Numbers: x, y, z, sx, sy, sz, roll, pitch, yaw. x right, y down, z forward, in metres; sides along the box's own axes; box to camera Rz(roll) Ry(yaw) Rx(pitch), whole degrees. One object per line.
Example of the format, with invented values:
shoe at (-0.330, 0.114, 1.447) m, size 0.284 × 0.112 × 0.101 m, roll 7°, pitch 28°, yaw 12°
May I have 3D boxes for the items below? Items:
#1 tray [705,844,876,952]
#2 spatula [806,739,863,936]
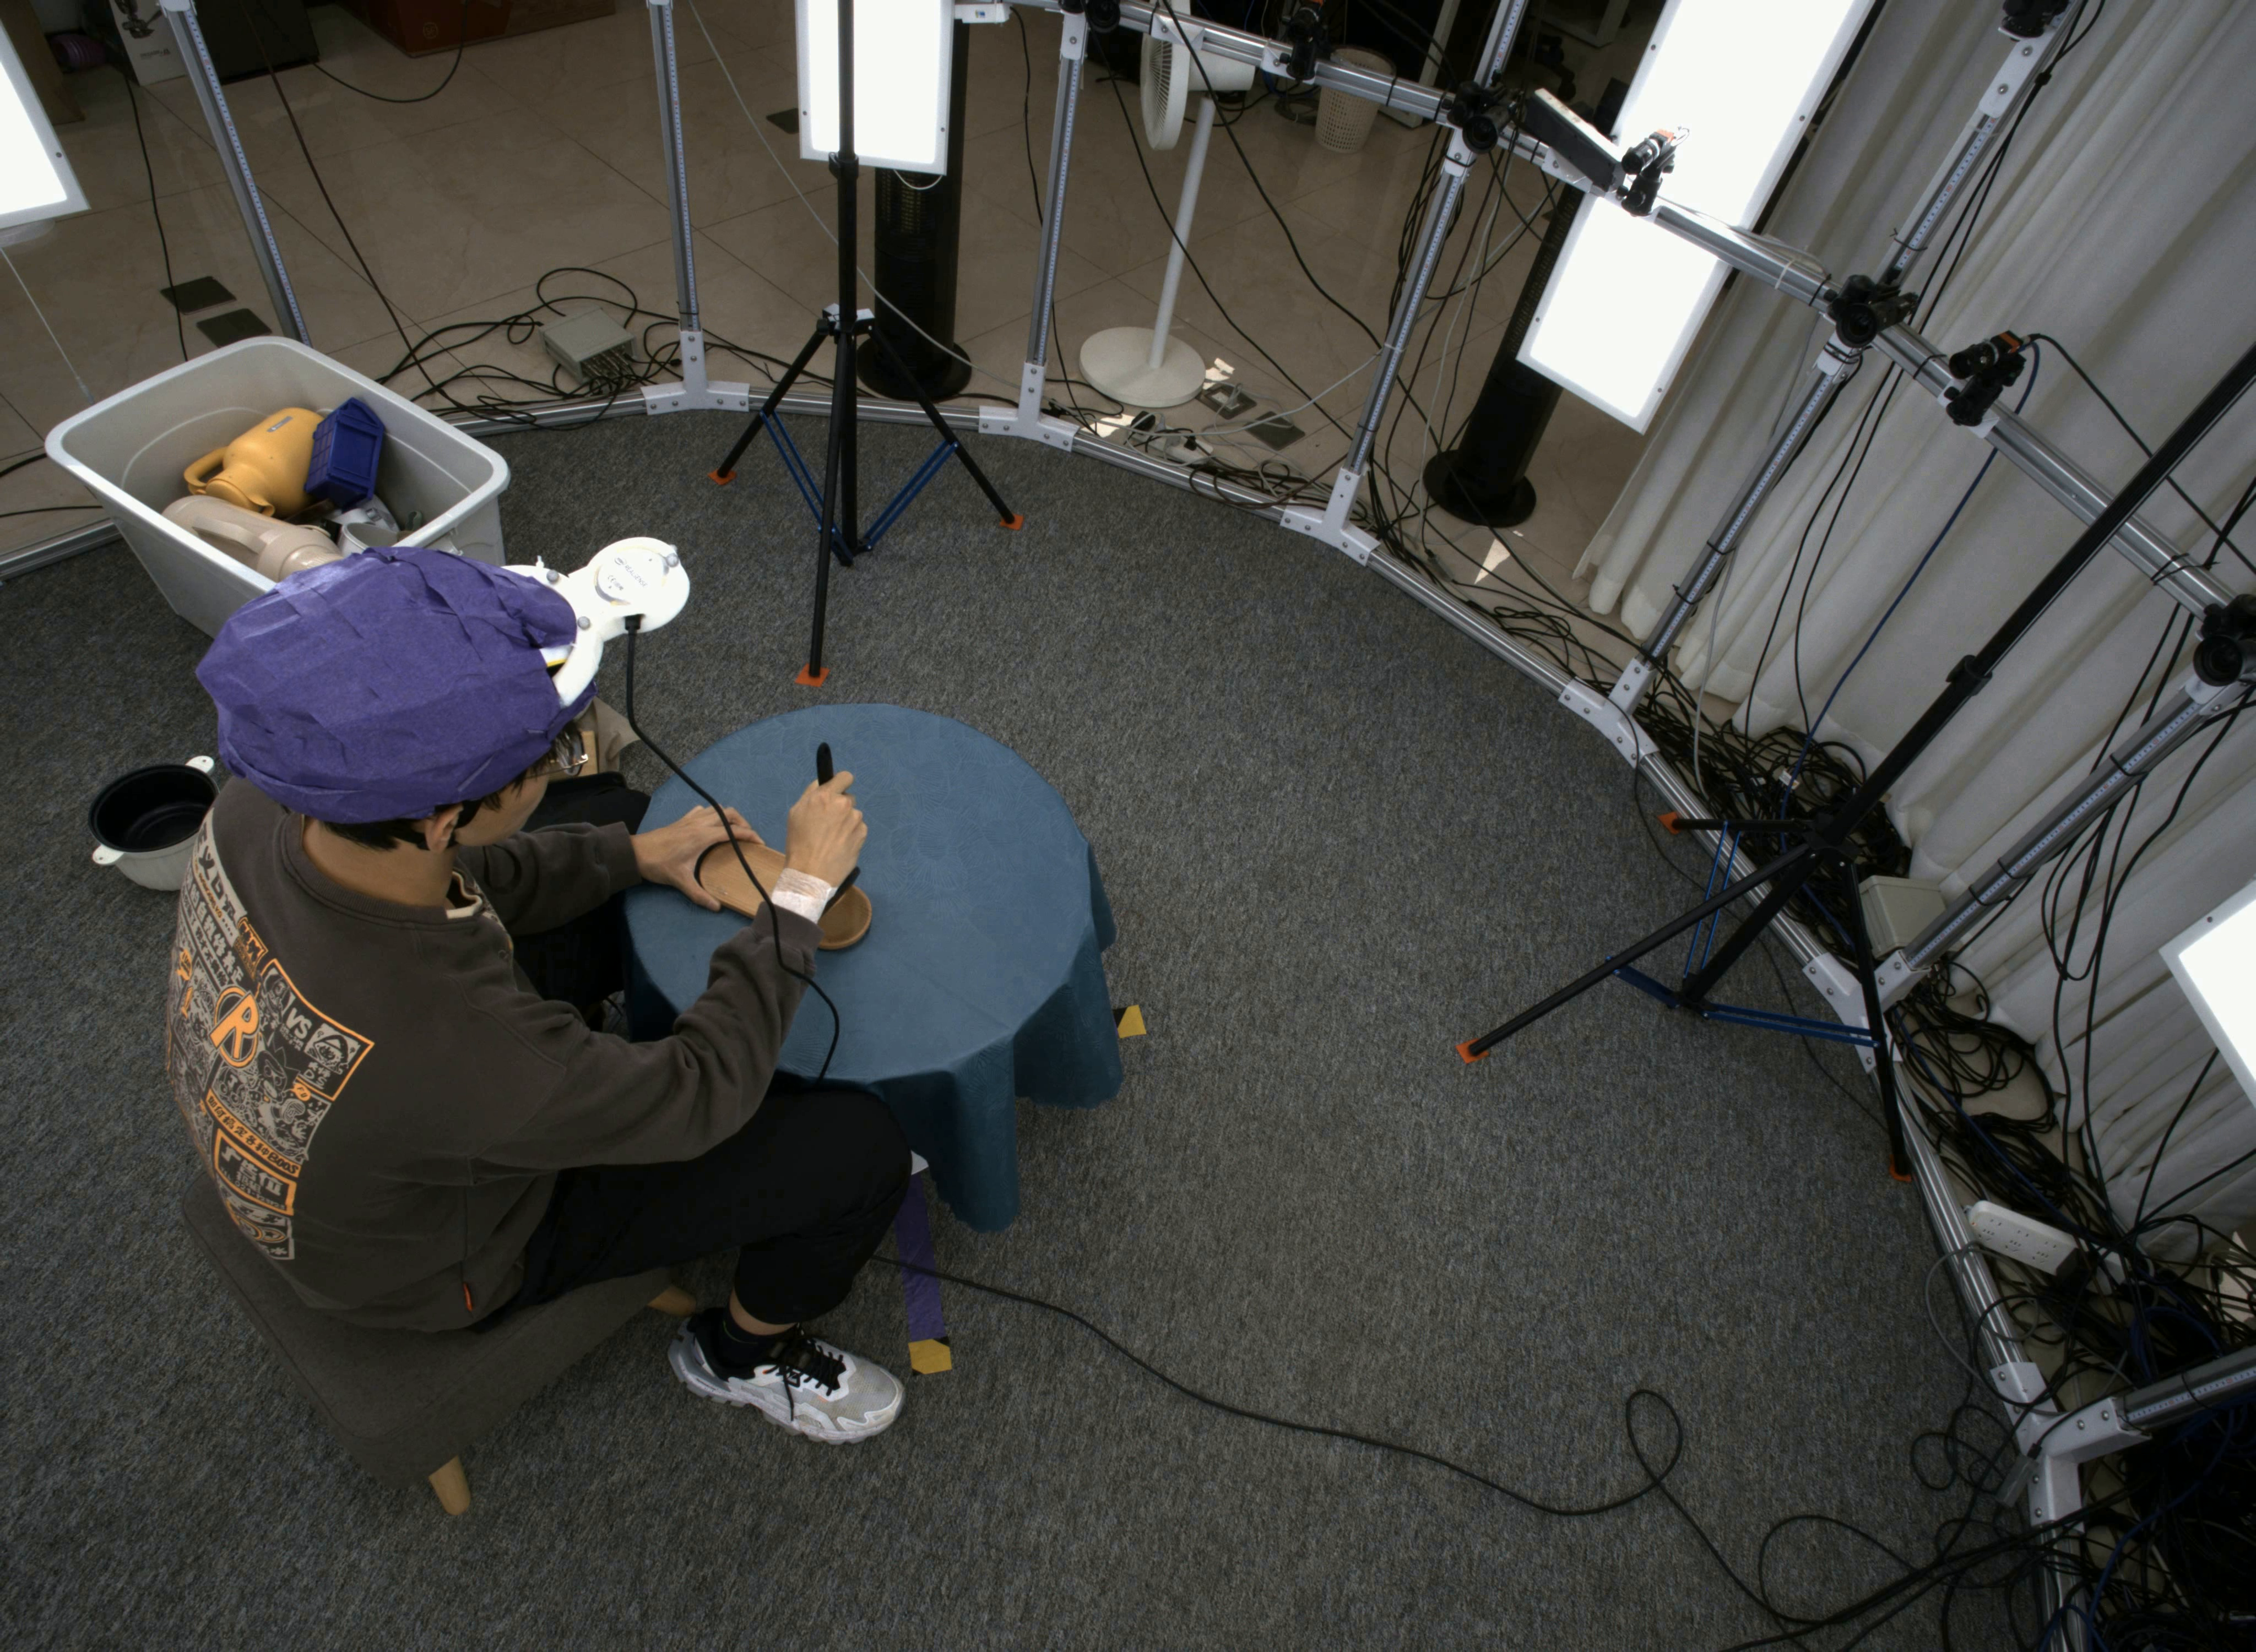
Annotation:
tray at (-0.433, 0.090, 1.660) m, size 0.228 × 0.021 × 0.101 m, roll 24°, pitch 51°, yaw 2°
spatula at (-0.355, 0.010, 1.528) m, size 0.039 × 0.335 × 0.099 m, roll 25°, pitch 53°, yaw 17°
